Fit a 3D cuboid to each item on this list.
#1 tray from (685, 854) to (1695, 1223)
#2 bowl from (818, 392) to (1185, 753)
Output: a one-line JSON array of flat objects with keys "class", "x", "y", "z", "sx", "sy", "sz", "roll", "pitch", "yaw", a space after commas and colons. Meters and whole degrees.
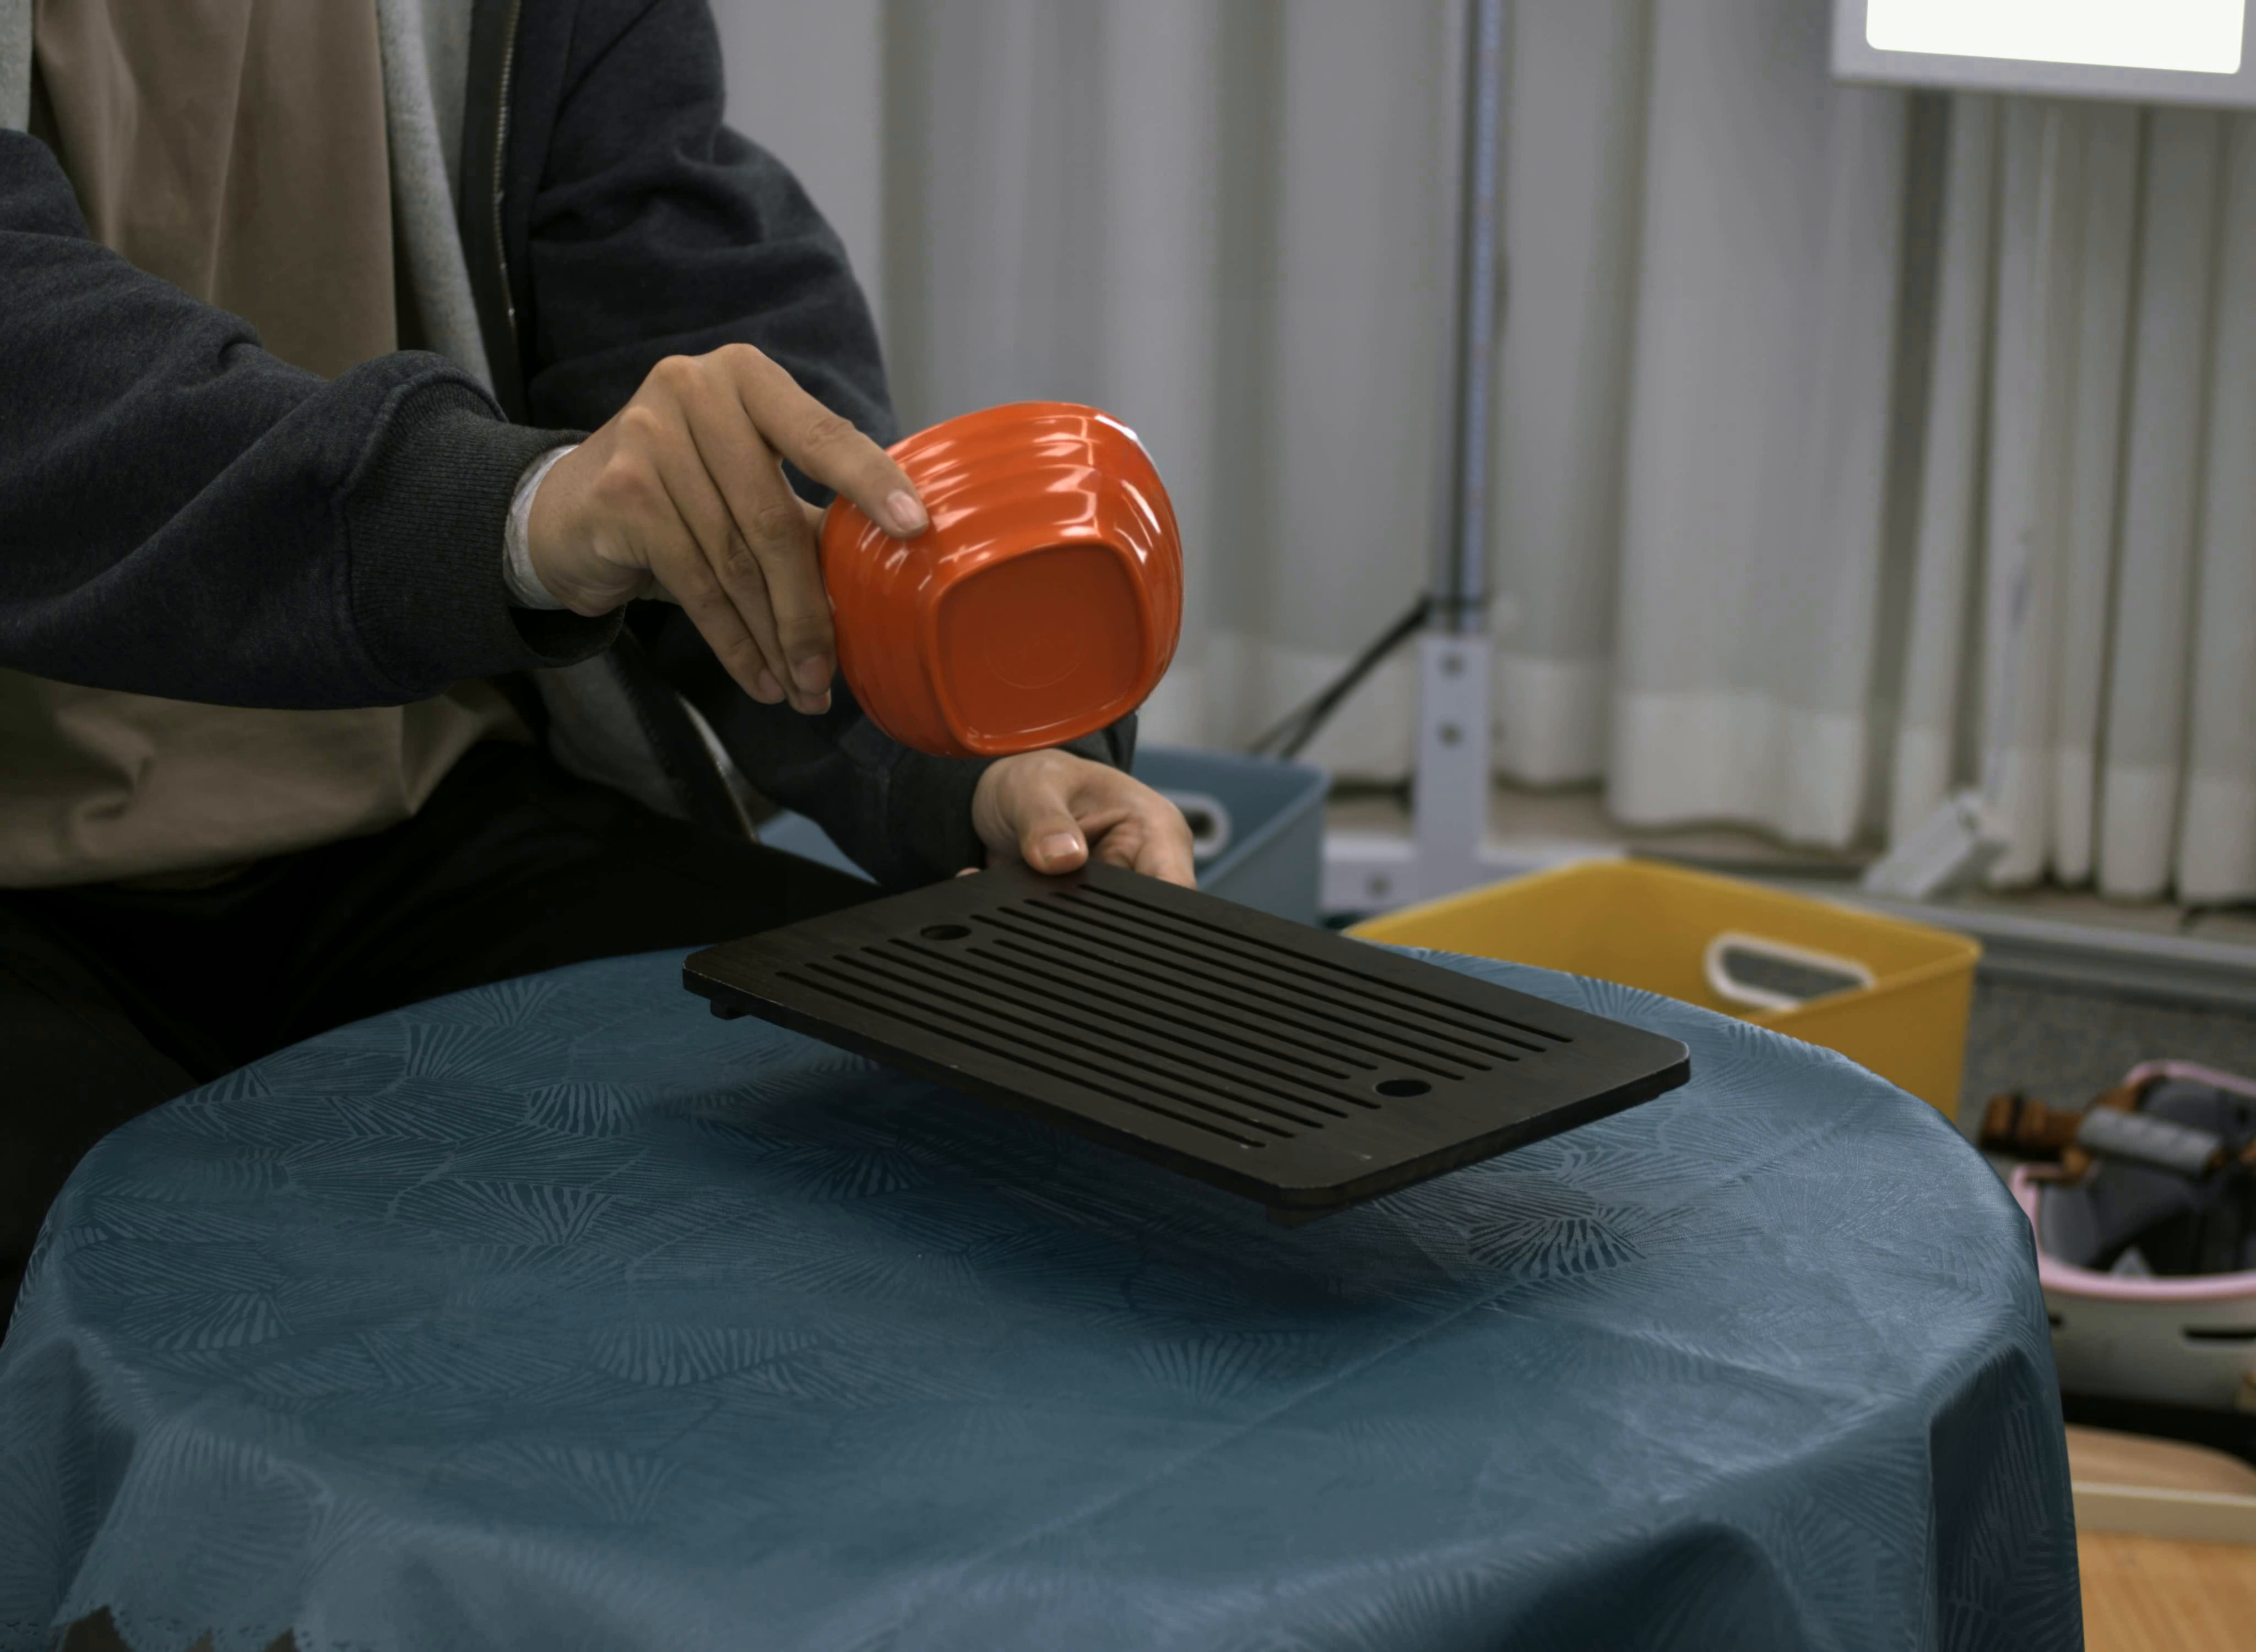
[{"class": "tray", "x": 0.015, "y": 0.063, "z": 1.647, "sx": 0.171, "sy": 0.019, "sz": 0.302, "roll": -16, "pitch": 22, "yaw": -39}, {"class": "bowl", "x": -0.032, "y": -0.065, "z": 1.538, "sx": 0.119, "sy": 0.120, "sz": 0.051, "roll": -4, "pitch": 32, "yaw": -16}]
